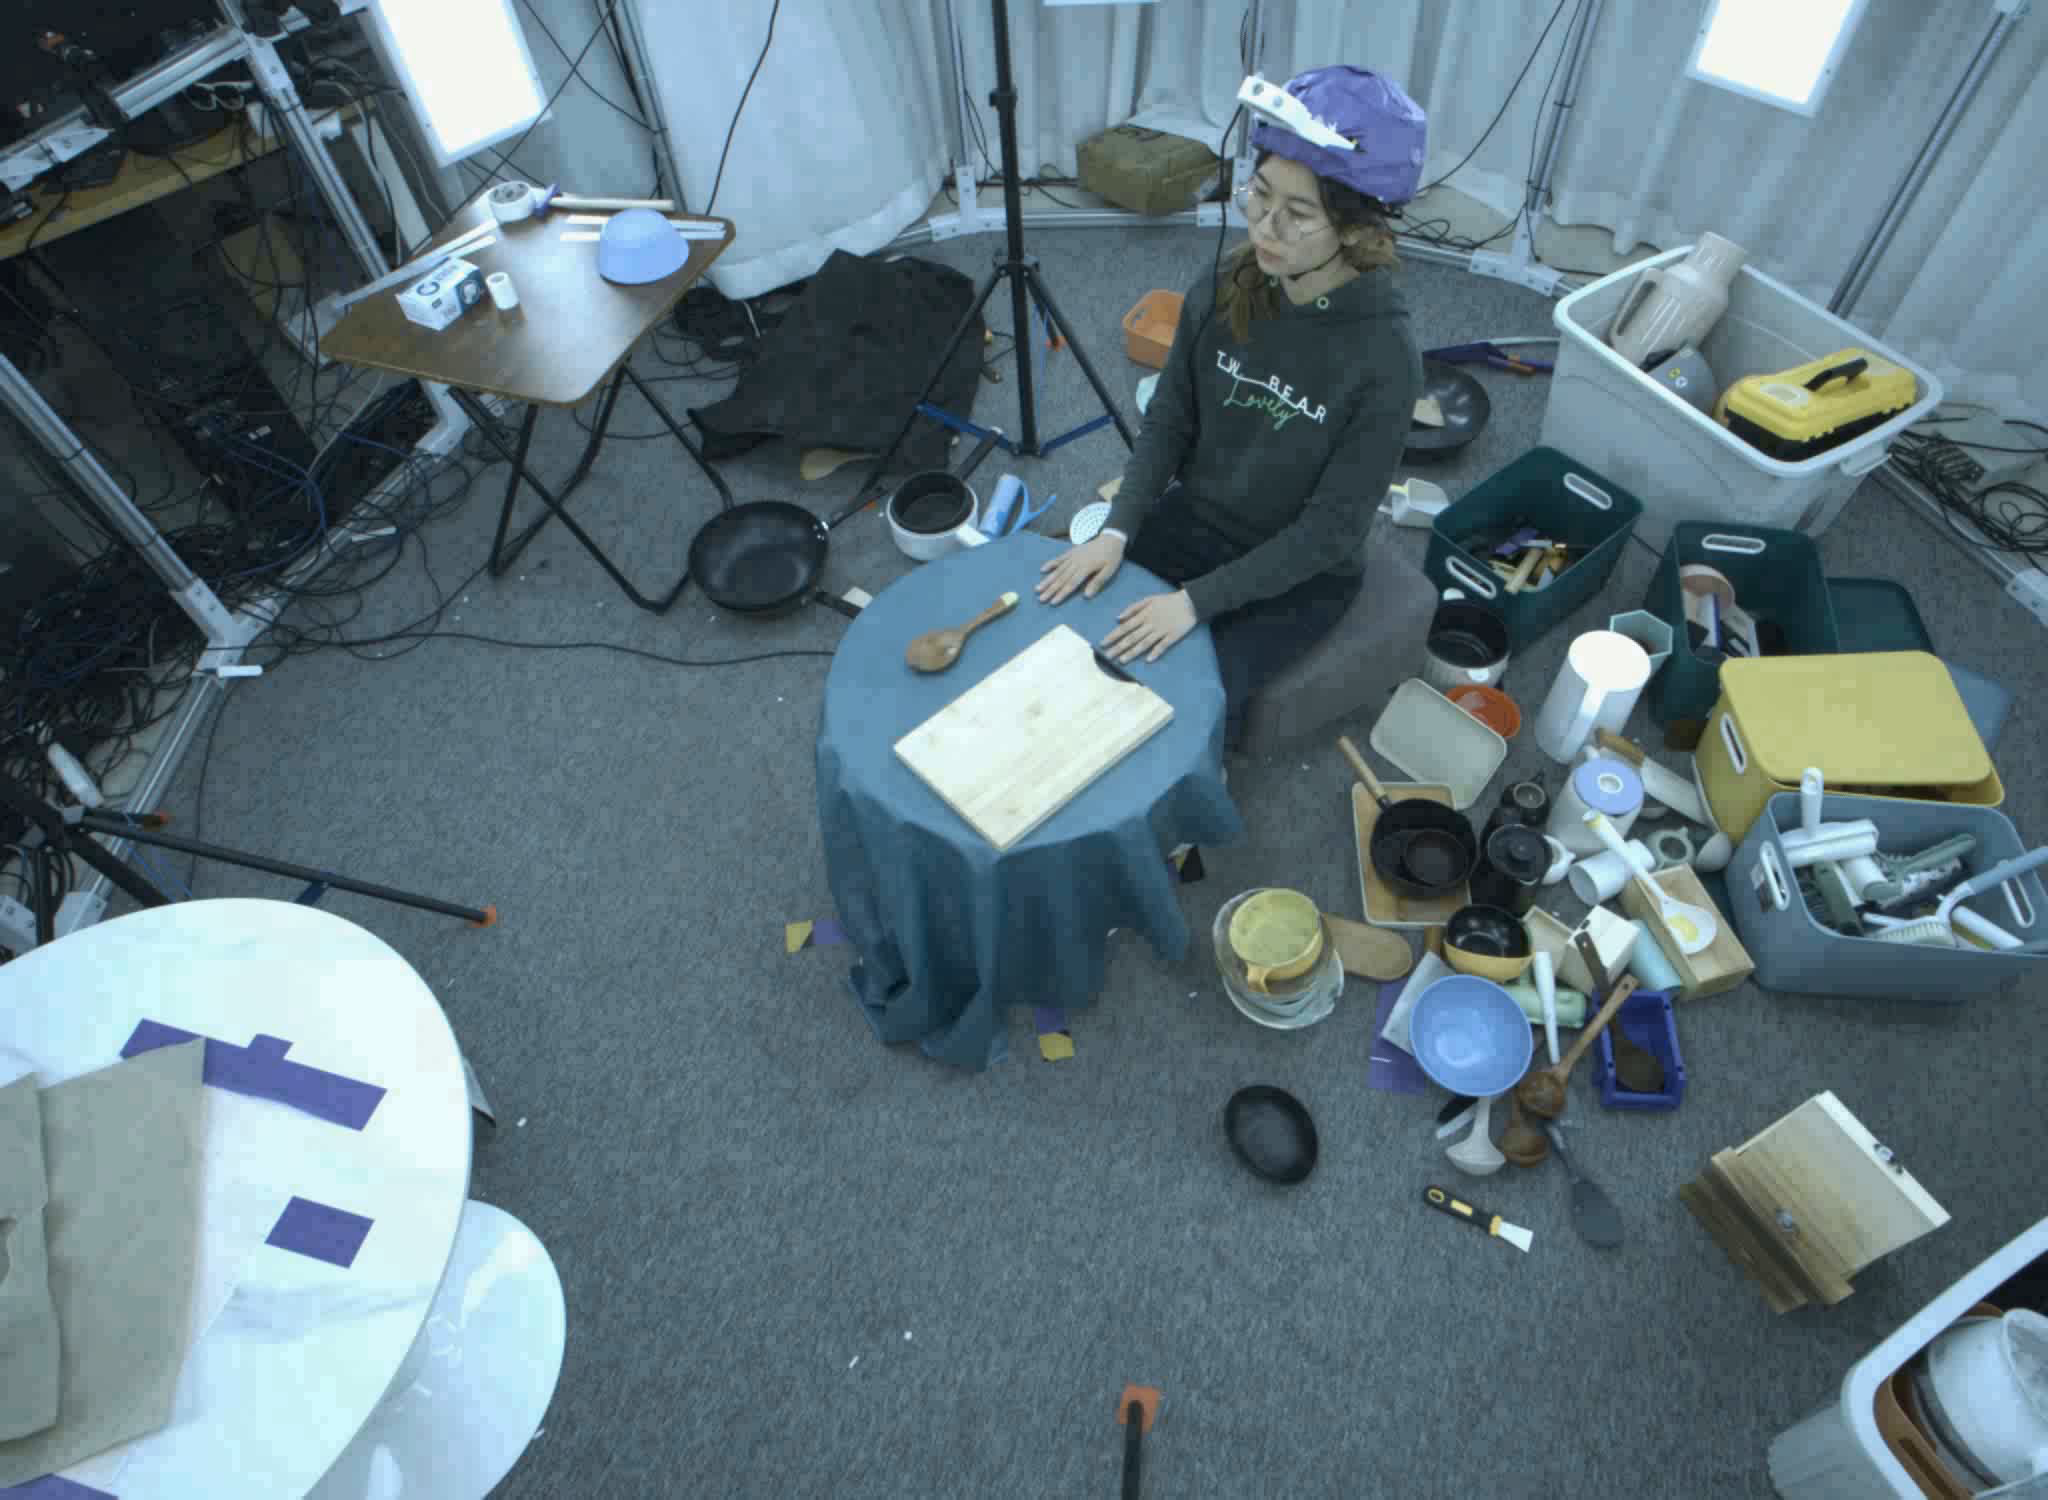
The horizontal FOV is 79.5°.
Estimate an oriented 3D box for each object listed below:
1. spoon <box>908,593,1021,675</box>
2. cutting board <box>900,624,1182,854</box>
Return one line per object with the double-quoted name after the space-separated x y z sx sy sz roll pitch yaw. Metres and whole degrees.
-0.089 -0.182 1.917 0.217 0.017 0.074 -38 60 -21 "spoon"
0.023 -0.026 1.806 0.351 0.024 0.246 -39 63 -23 "cutting board"
